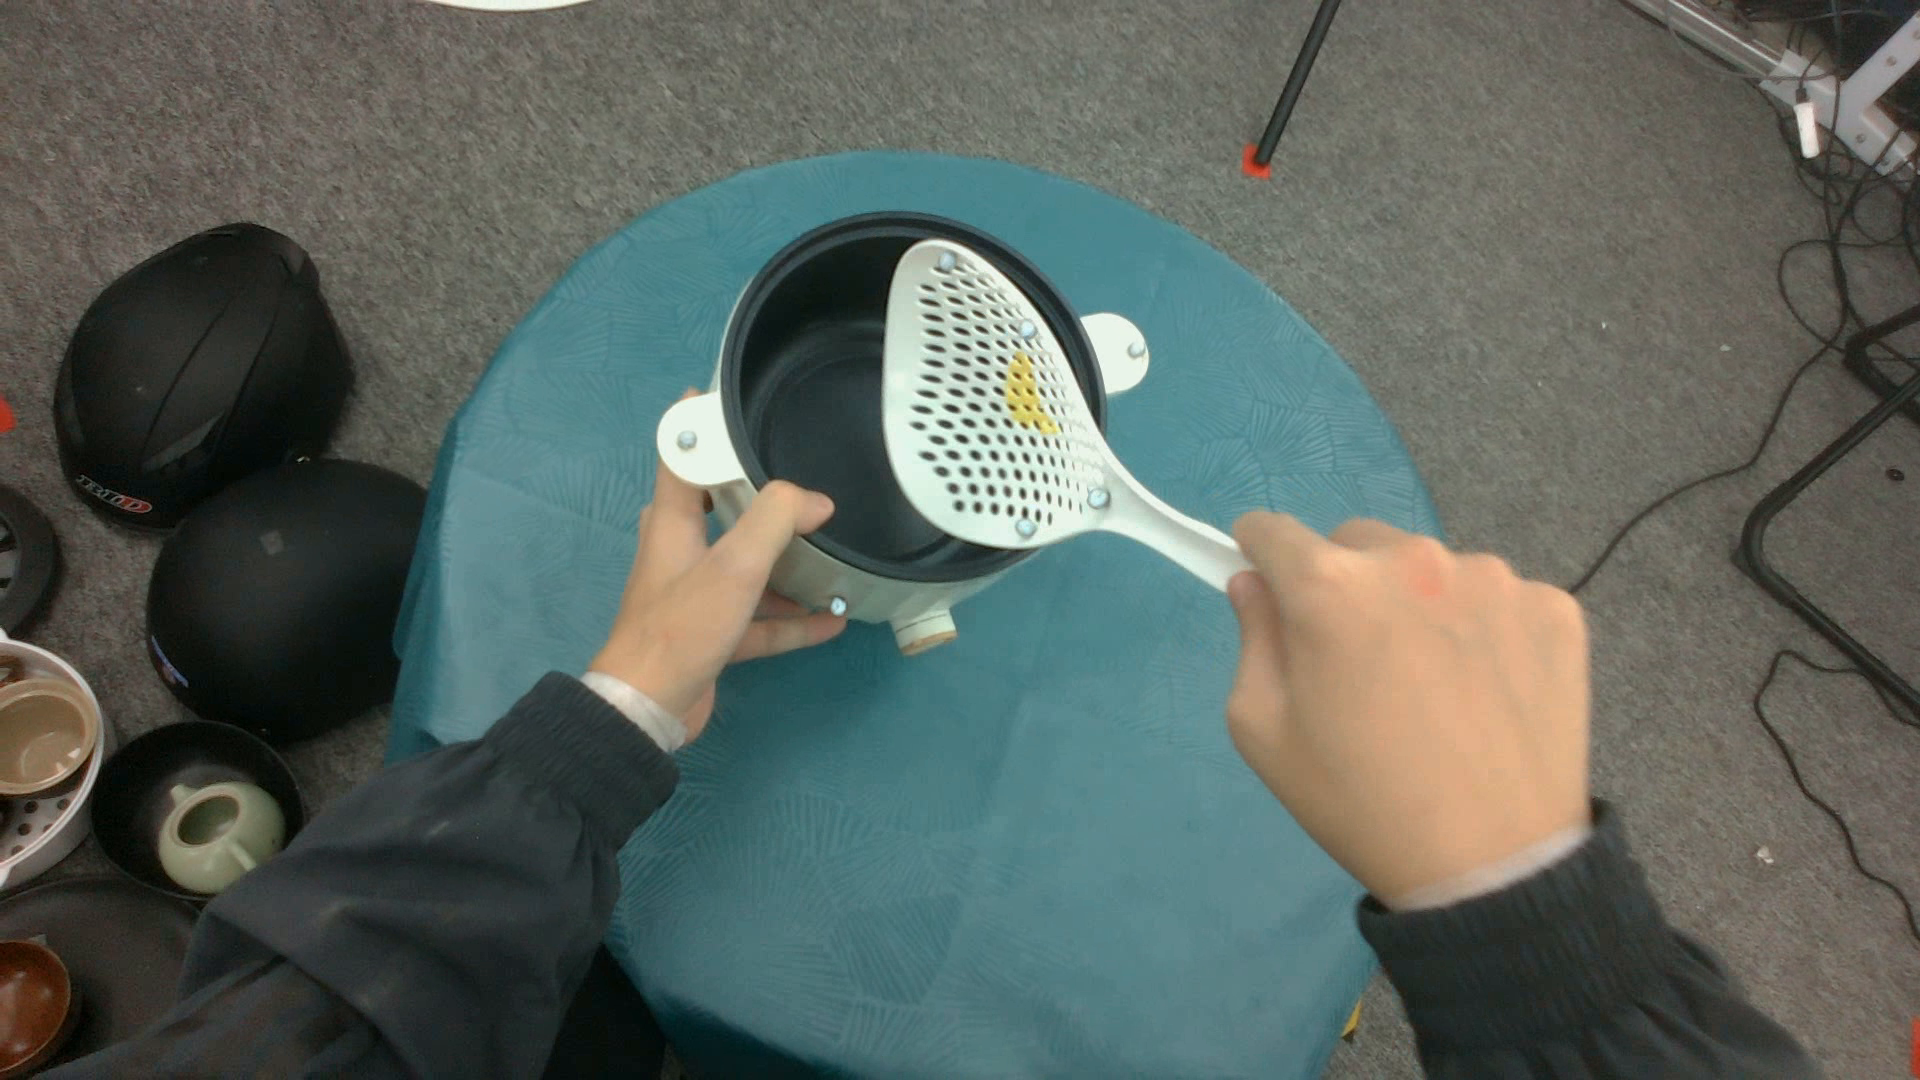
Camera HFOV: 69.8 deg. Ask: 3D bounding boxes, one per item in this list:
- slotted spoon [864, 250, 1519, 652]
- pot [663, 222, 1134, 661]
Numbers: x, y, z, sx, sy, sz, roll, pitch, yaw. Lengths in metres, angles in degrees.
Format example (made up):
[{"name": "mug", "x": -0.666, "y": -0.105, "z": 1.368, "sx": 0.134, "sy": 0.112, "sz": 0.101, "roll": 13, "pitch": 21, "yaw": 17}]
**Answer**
[{"name": "slotted spoon", "x": 0.063, "y": -0.024, "z": 0.552, "sx": 0.050, "sy": 0.136, "sz": 0.348, "roll": -14, "pitch": 30, "yaw": -29}, {"name": "pot", "x": -0.035, "y": -0.042, "z": 0.694, "sx": 0.241, "sy": 0.142, "sz": 0.191, "roll": -19, "pitch": 76, "yaw": -20}]
